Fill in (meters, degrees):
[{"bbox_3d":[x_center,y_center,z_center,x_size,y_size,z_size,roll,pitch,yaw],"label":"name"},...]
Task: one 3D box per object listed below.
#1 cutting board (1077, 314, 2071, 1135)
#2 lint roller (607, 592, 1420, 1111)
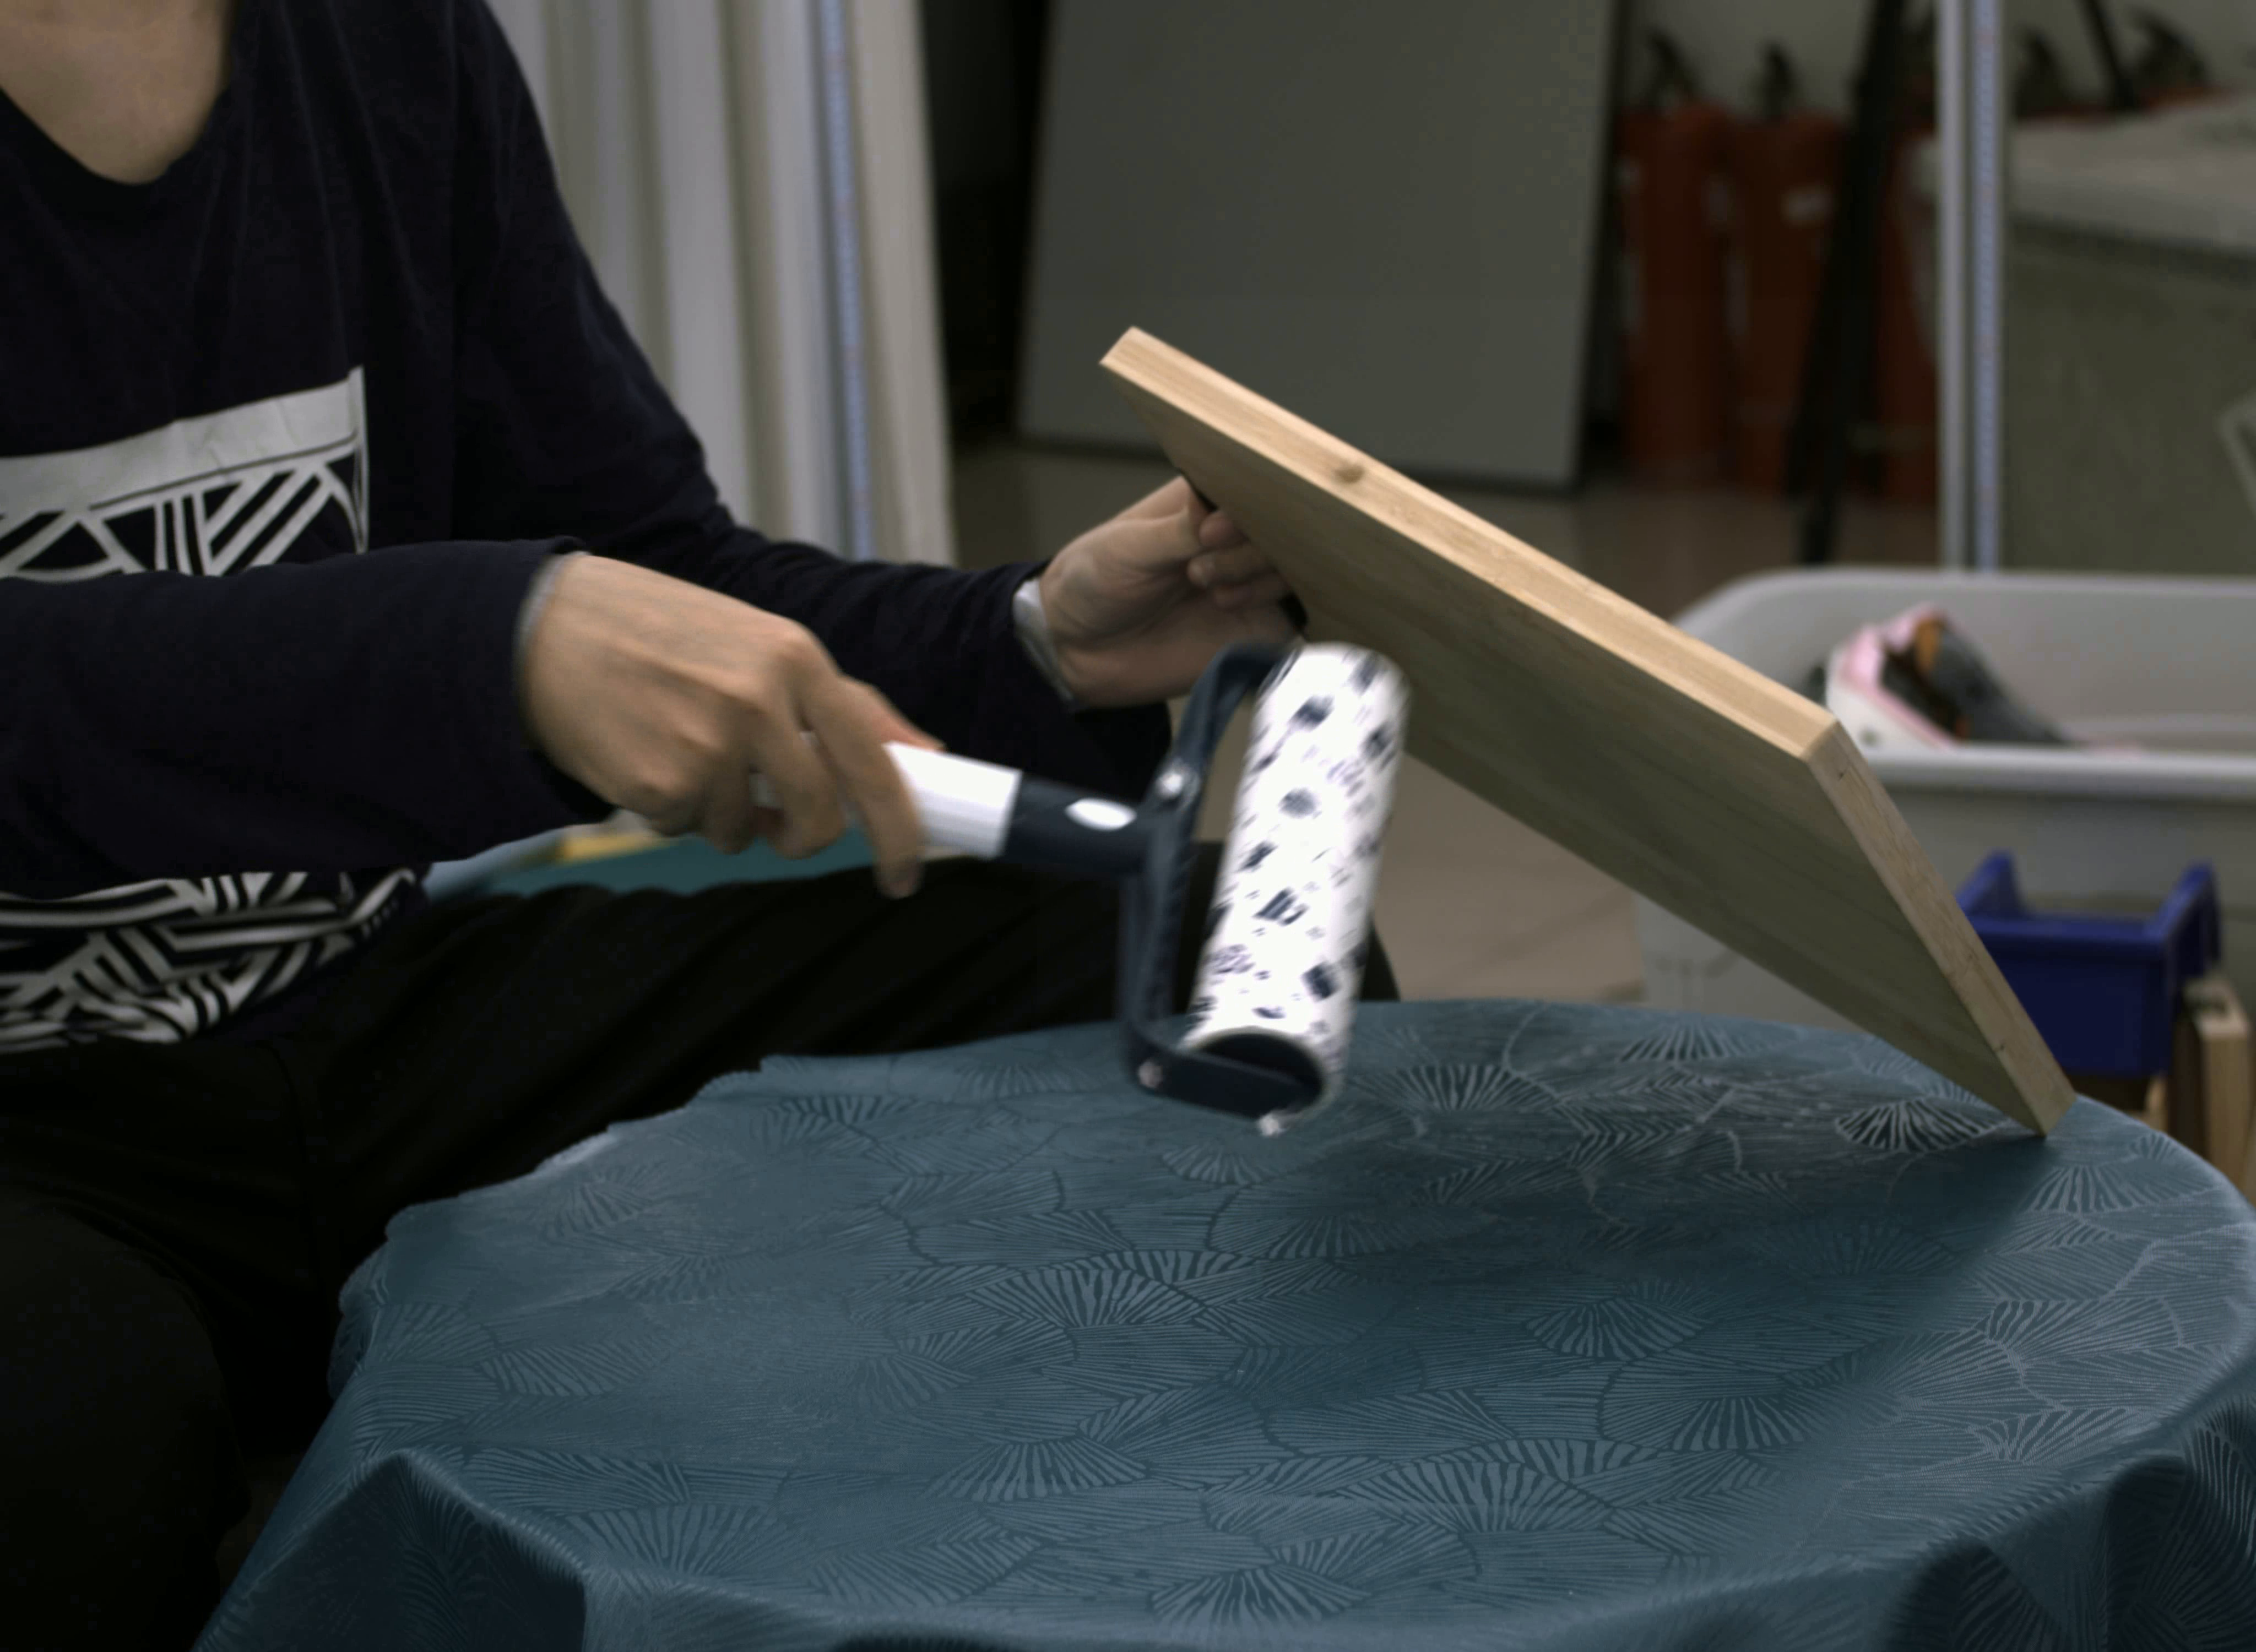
[{"bbox_3d":[0.145,-0.036,1.799,0.023,0.248,0.352,-49,47,-9],"label":"cutting board"},{"bbox_3d":[-0.040,-0.010,1.661,0.244,0.050,0.177,10,55,2],"label":"lint roller"}]
